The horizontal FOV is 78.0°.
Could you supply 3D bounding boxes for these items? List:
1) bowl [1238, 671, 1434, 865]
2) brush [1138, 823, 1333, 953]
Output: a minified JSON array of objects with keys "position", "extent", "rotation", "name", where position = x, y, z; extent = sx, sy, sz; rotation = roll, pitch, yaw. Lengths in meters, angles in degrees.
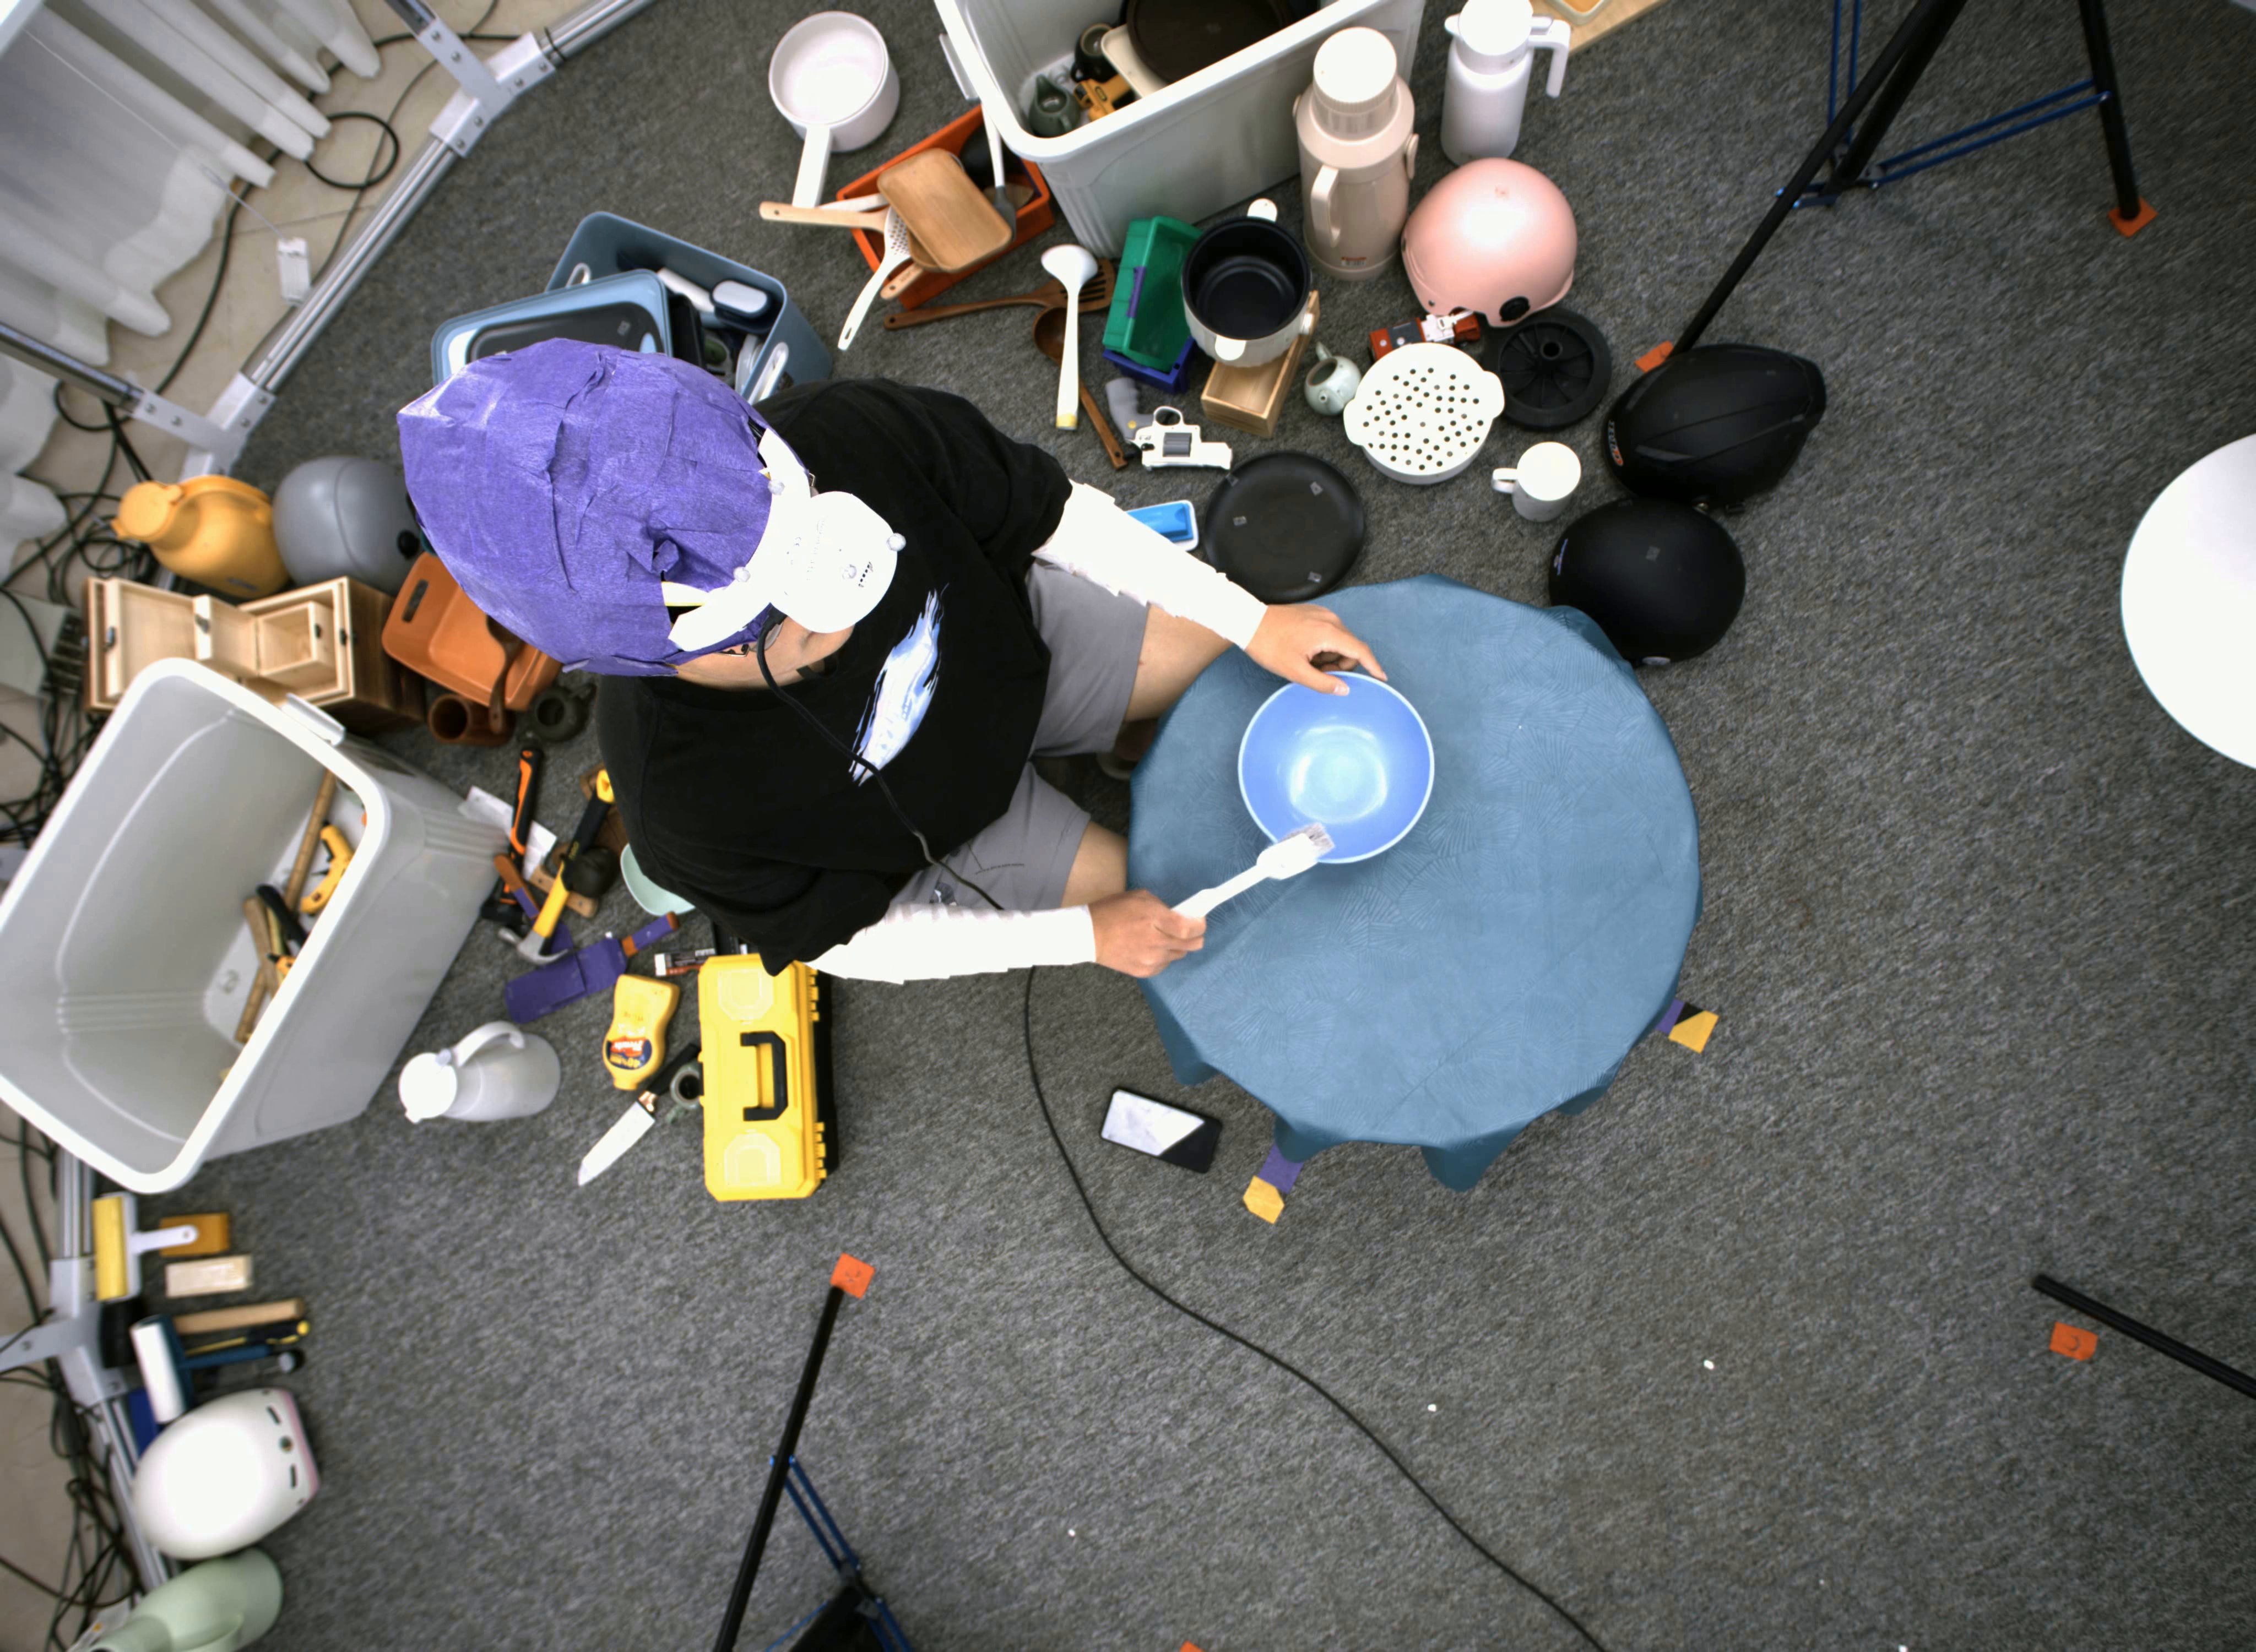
[{"position":[0.217,-0.056,1.429],"extent":[0.197,0.095,0.195],"rotation":[-1,87,12],"name":"bowl"},{"position":[0.105,0.064,1.407],"extent":[0.248,0.049,0.034],"rotation":[-33,95,36],"name":"brush"}]
